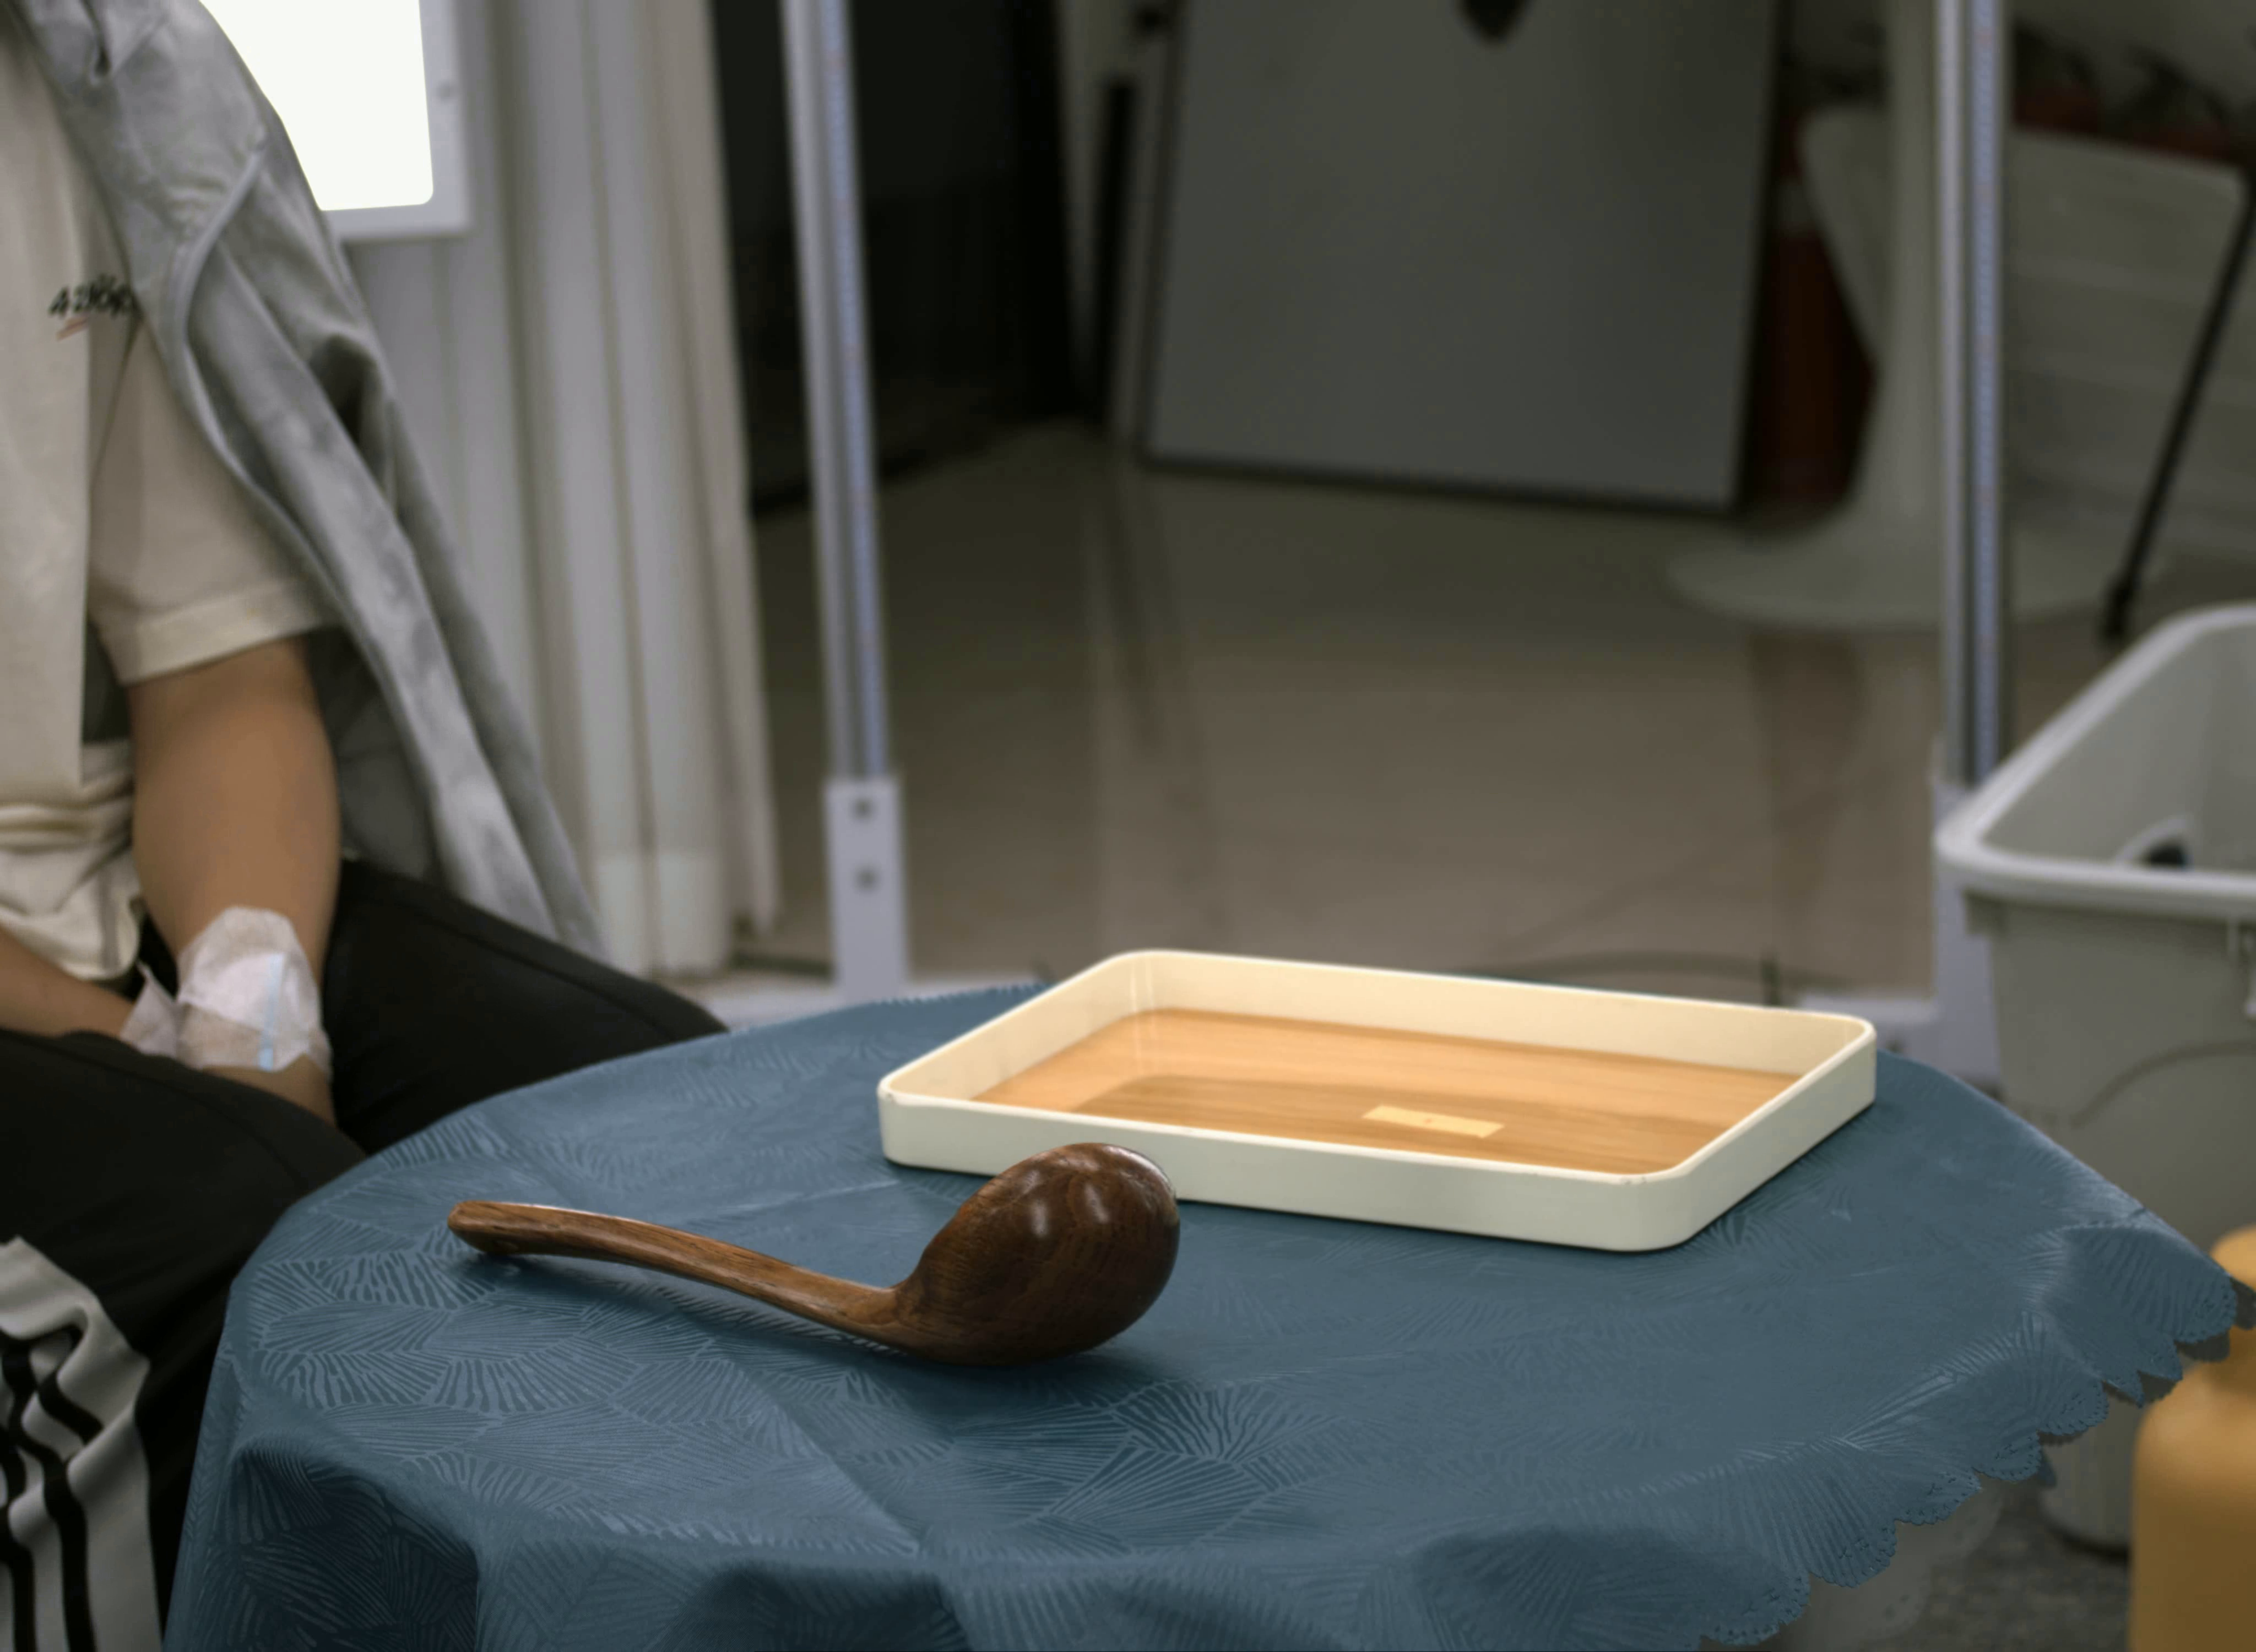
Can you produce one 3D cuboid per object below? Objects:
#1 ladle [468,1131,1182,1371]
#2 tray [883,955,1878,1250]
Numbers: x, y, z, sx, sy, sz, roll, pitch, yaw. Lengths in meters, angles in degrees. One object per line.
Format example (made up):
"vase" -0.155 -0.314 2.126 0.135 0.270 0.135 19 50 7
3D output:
"ladle" -0.099 0.118 1.671 0.276 0.077 0.081 7 -24 43
"tray" 0.085 0.090 1.819 0.301 0.028 0.188 4 16 31
